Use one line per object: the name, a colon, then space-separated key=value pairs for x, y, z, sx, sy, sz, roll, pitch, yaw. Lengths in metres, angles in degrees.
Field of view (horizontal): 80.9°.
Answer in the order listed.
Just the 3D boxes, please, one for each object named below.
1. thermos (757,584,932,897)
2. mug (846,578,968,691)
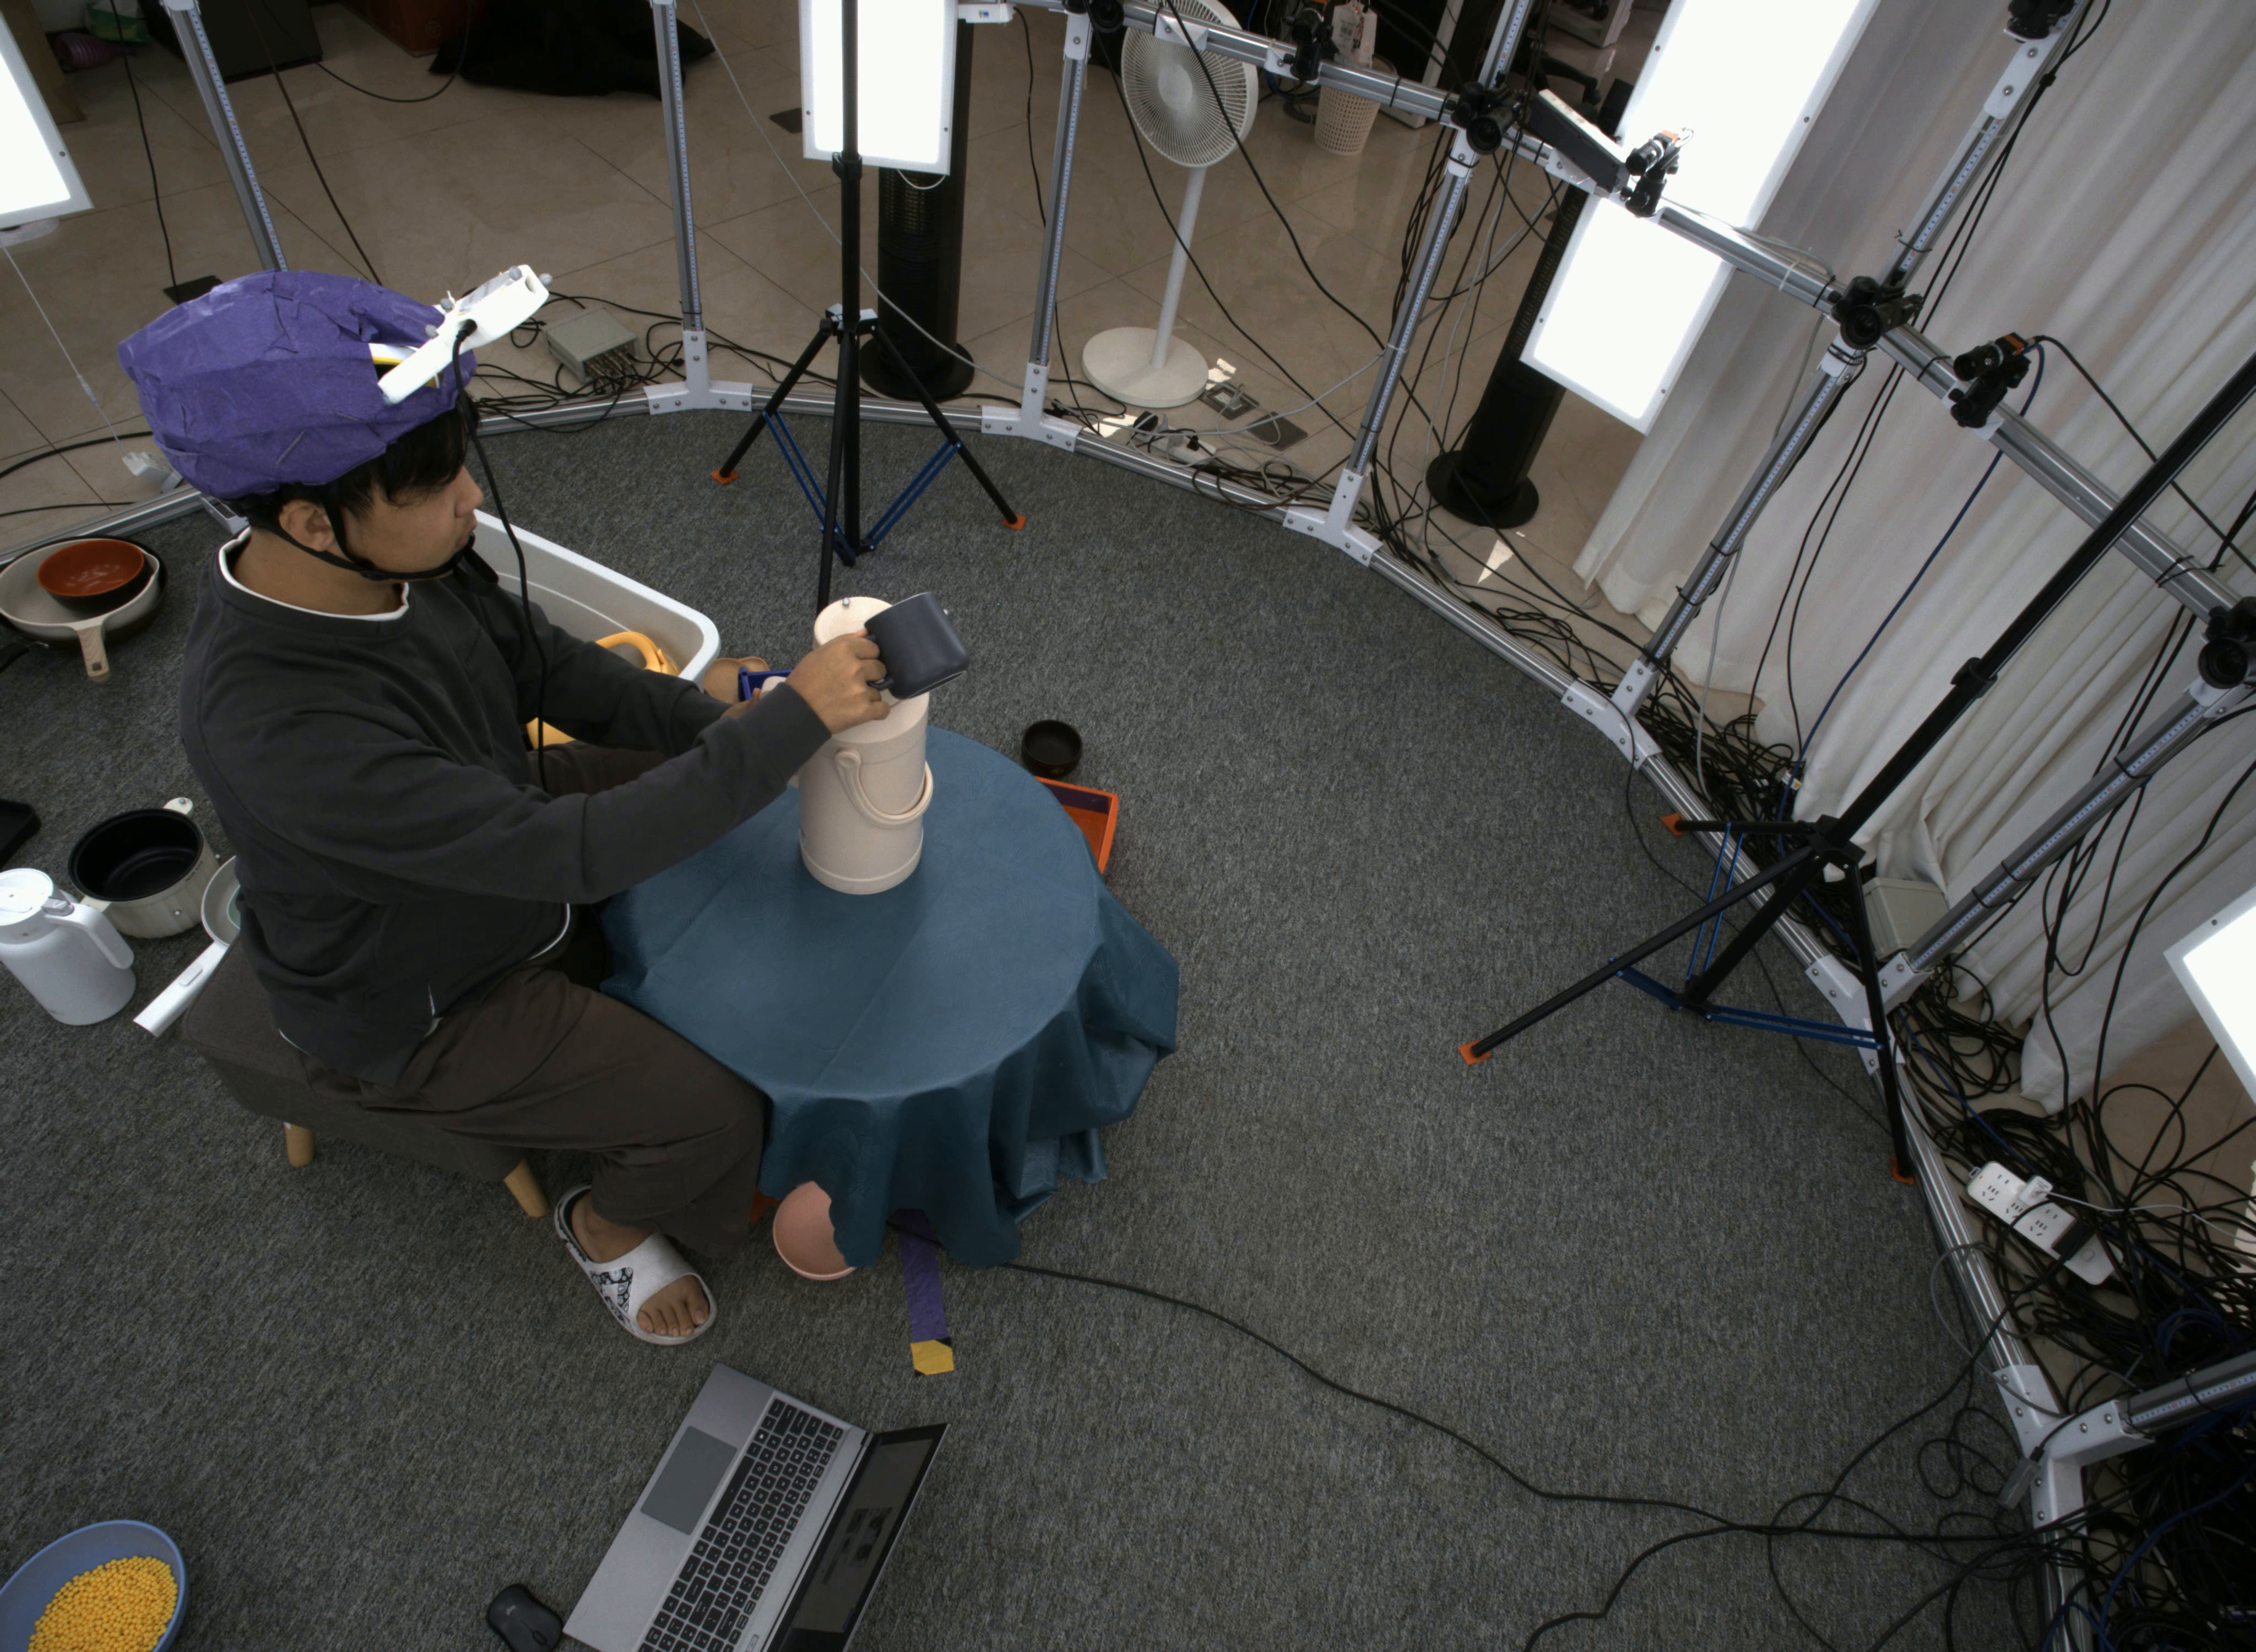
thermos: x=-0.337 y=-0.101 z=1.560 sx=0.206 sy=0.415 sz=0.172 roll=7 pitch=51 yaw=-6
mug: x=-0.234 y=-0.190 z=1.341 sx=0.124 sy=0.092 sz=0.091 roll=-30 pitch=97 yaw=-31
